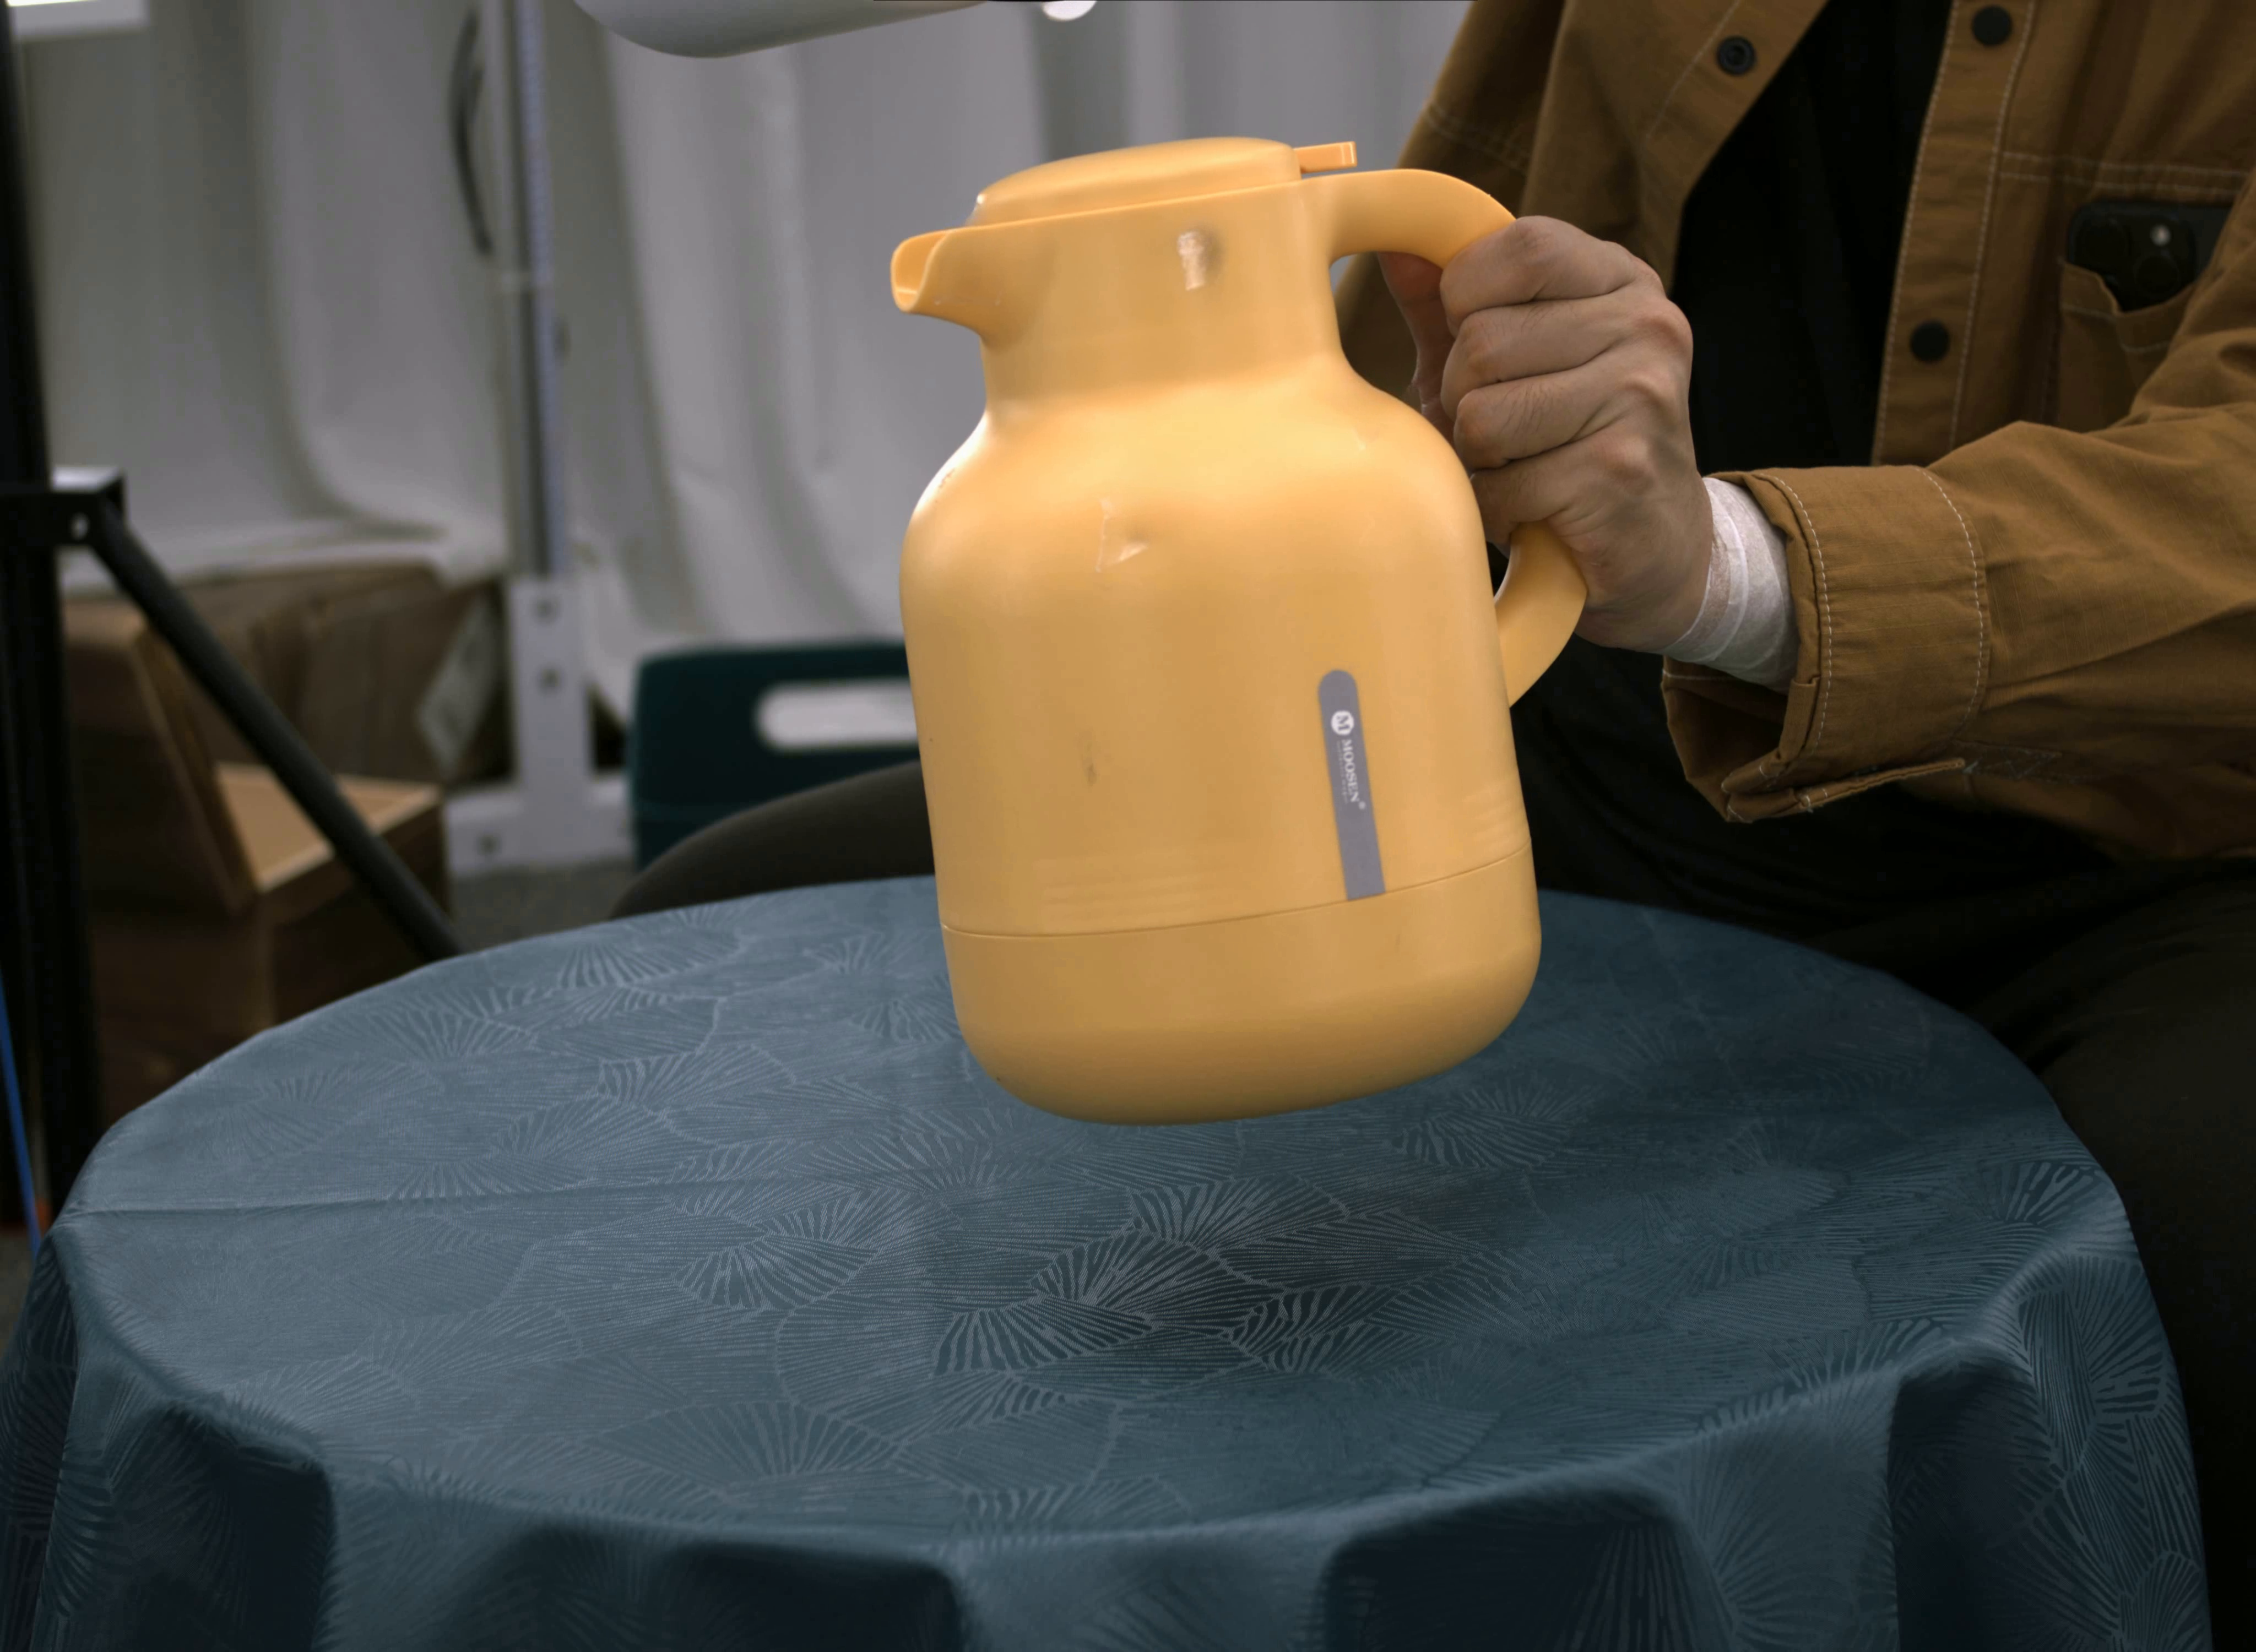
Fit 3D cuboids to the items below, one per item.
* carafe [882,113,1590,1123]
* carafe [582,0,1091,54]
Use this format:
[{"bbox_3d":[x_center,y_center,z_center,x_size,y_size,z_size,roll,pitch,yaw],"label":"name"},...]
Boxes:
[{"bbox_3d":[0.037,-0.062,1.446,0.198,0.260,0.166,-12,10,-21],"label":"carafe"},{"bbox_3d":[-0.087,-0.305,1.525,0.122,0.172,0.273,-22,10,-19],"label":"carafe"}]
